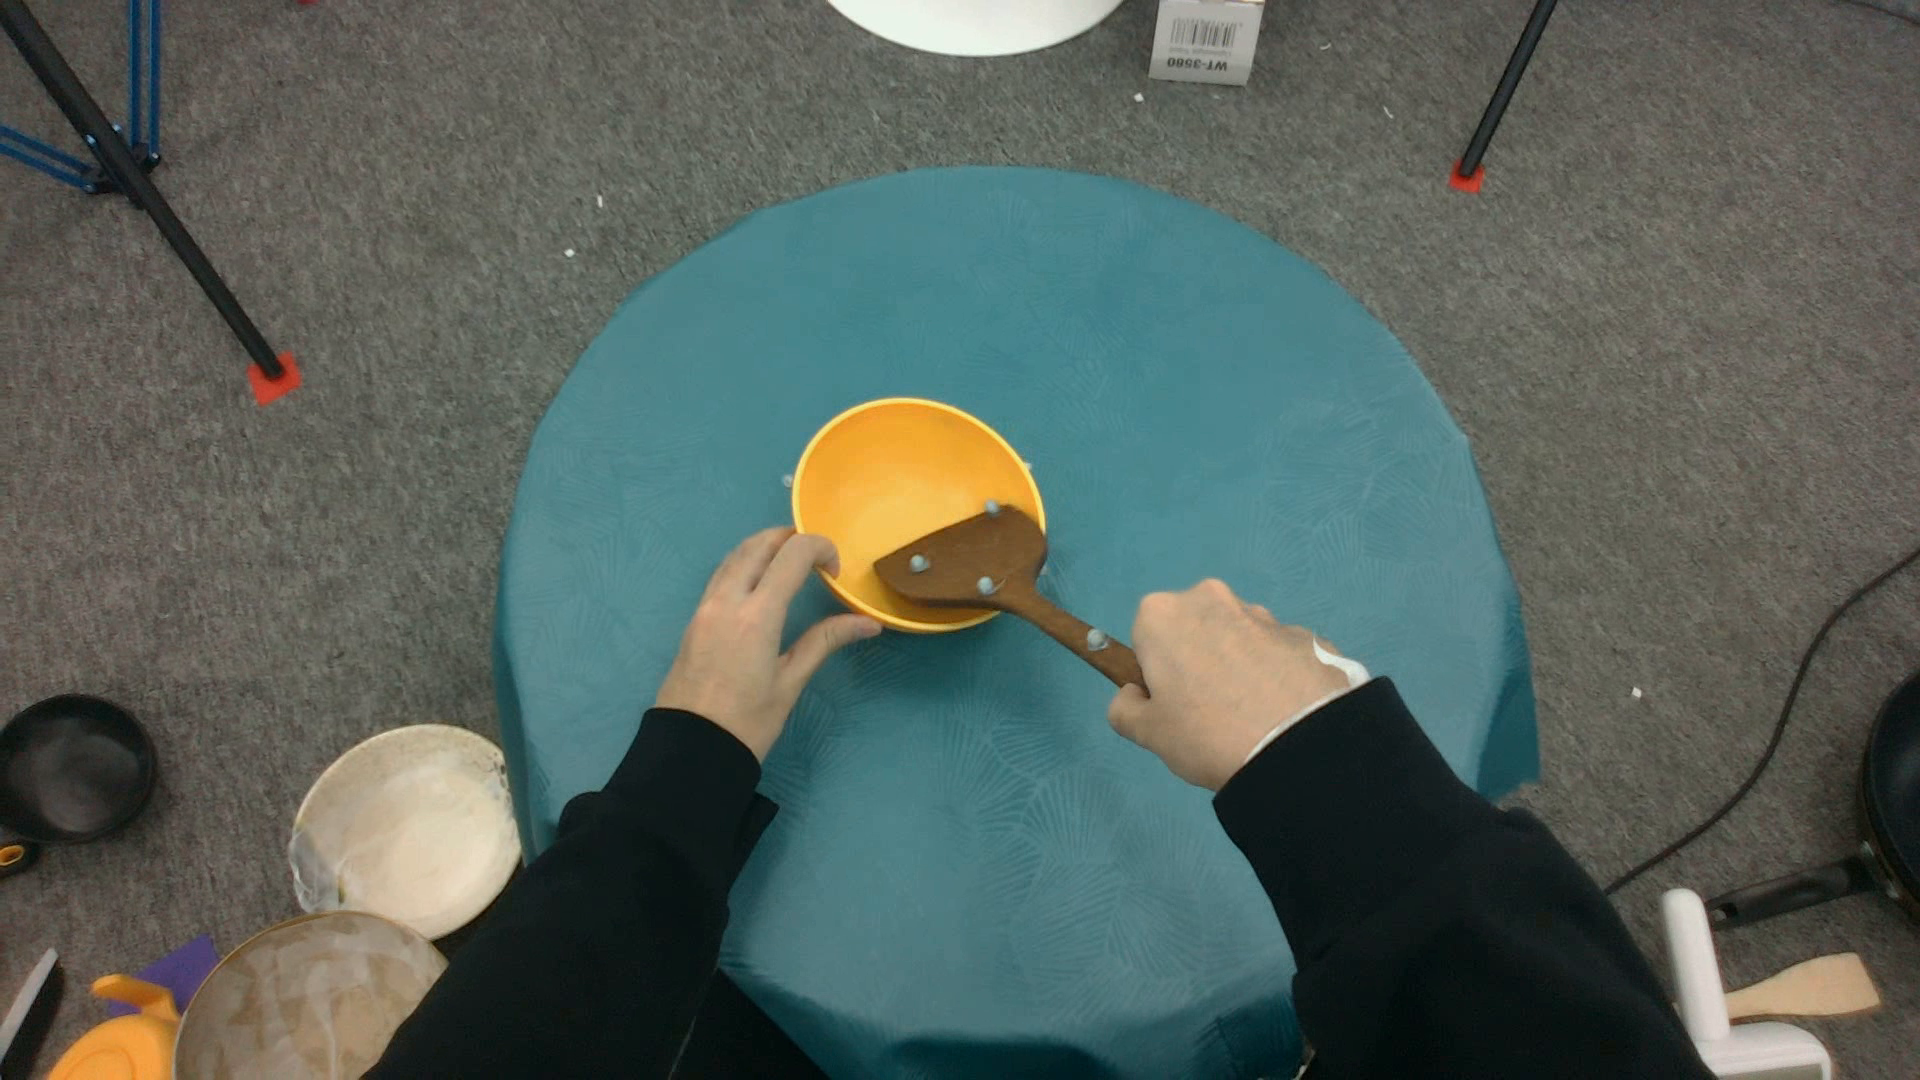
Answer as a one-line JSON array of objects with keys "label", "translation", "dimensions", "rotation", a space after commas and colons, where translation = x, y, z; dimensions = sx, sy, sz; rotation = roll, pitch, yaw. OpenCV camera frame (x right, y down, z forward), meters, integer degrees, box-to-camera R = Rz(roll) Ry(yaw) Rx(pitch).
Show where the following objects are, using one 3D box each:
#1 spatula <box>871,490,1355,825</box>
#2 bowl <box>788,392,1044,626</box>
[{"label": "spatula", "translation": [0.057, 0.039, 0.634], "dimensions": [0.096, 0.016, 0.386], "rotation": [-23, 22, -15]}, {"label": "bowl", "translation": [-0.029, -0.009, 0.788], "dimensions": [0.145, 0.060, 0.146], "rotation": [6, 63, -13]}]
